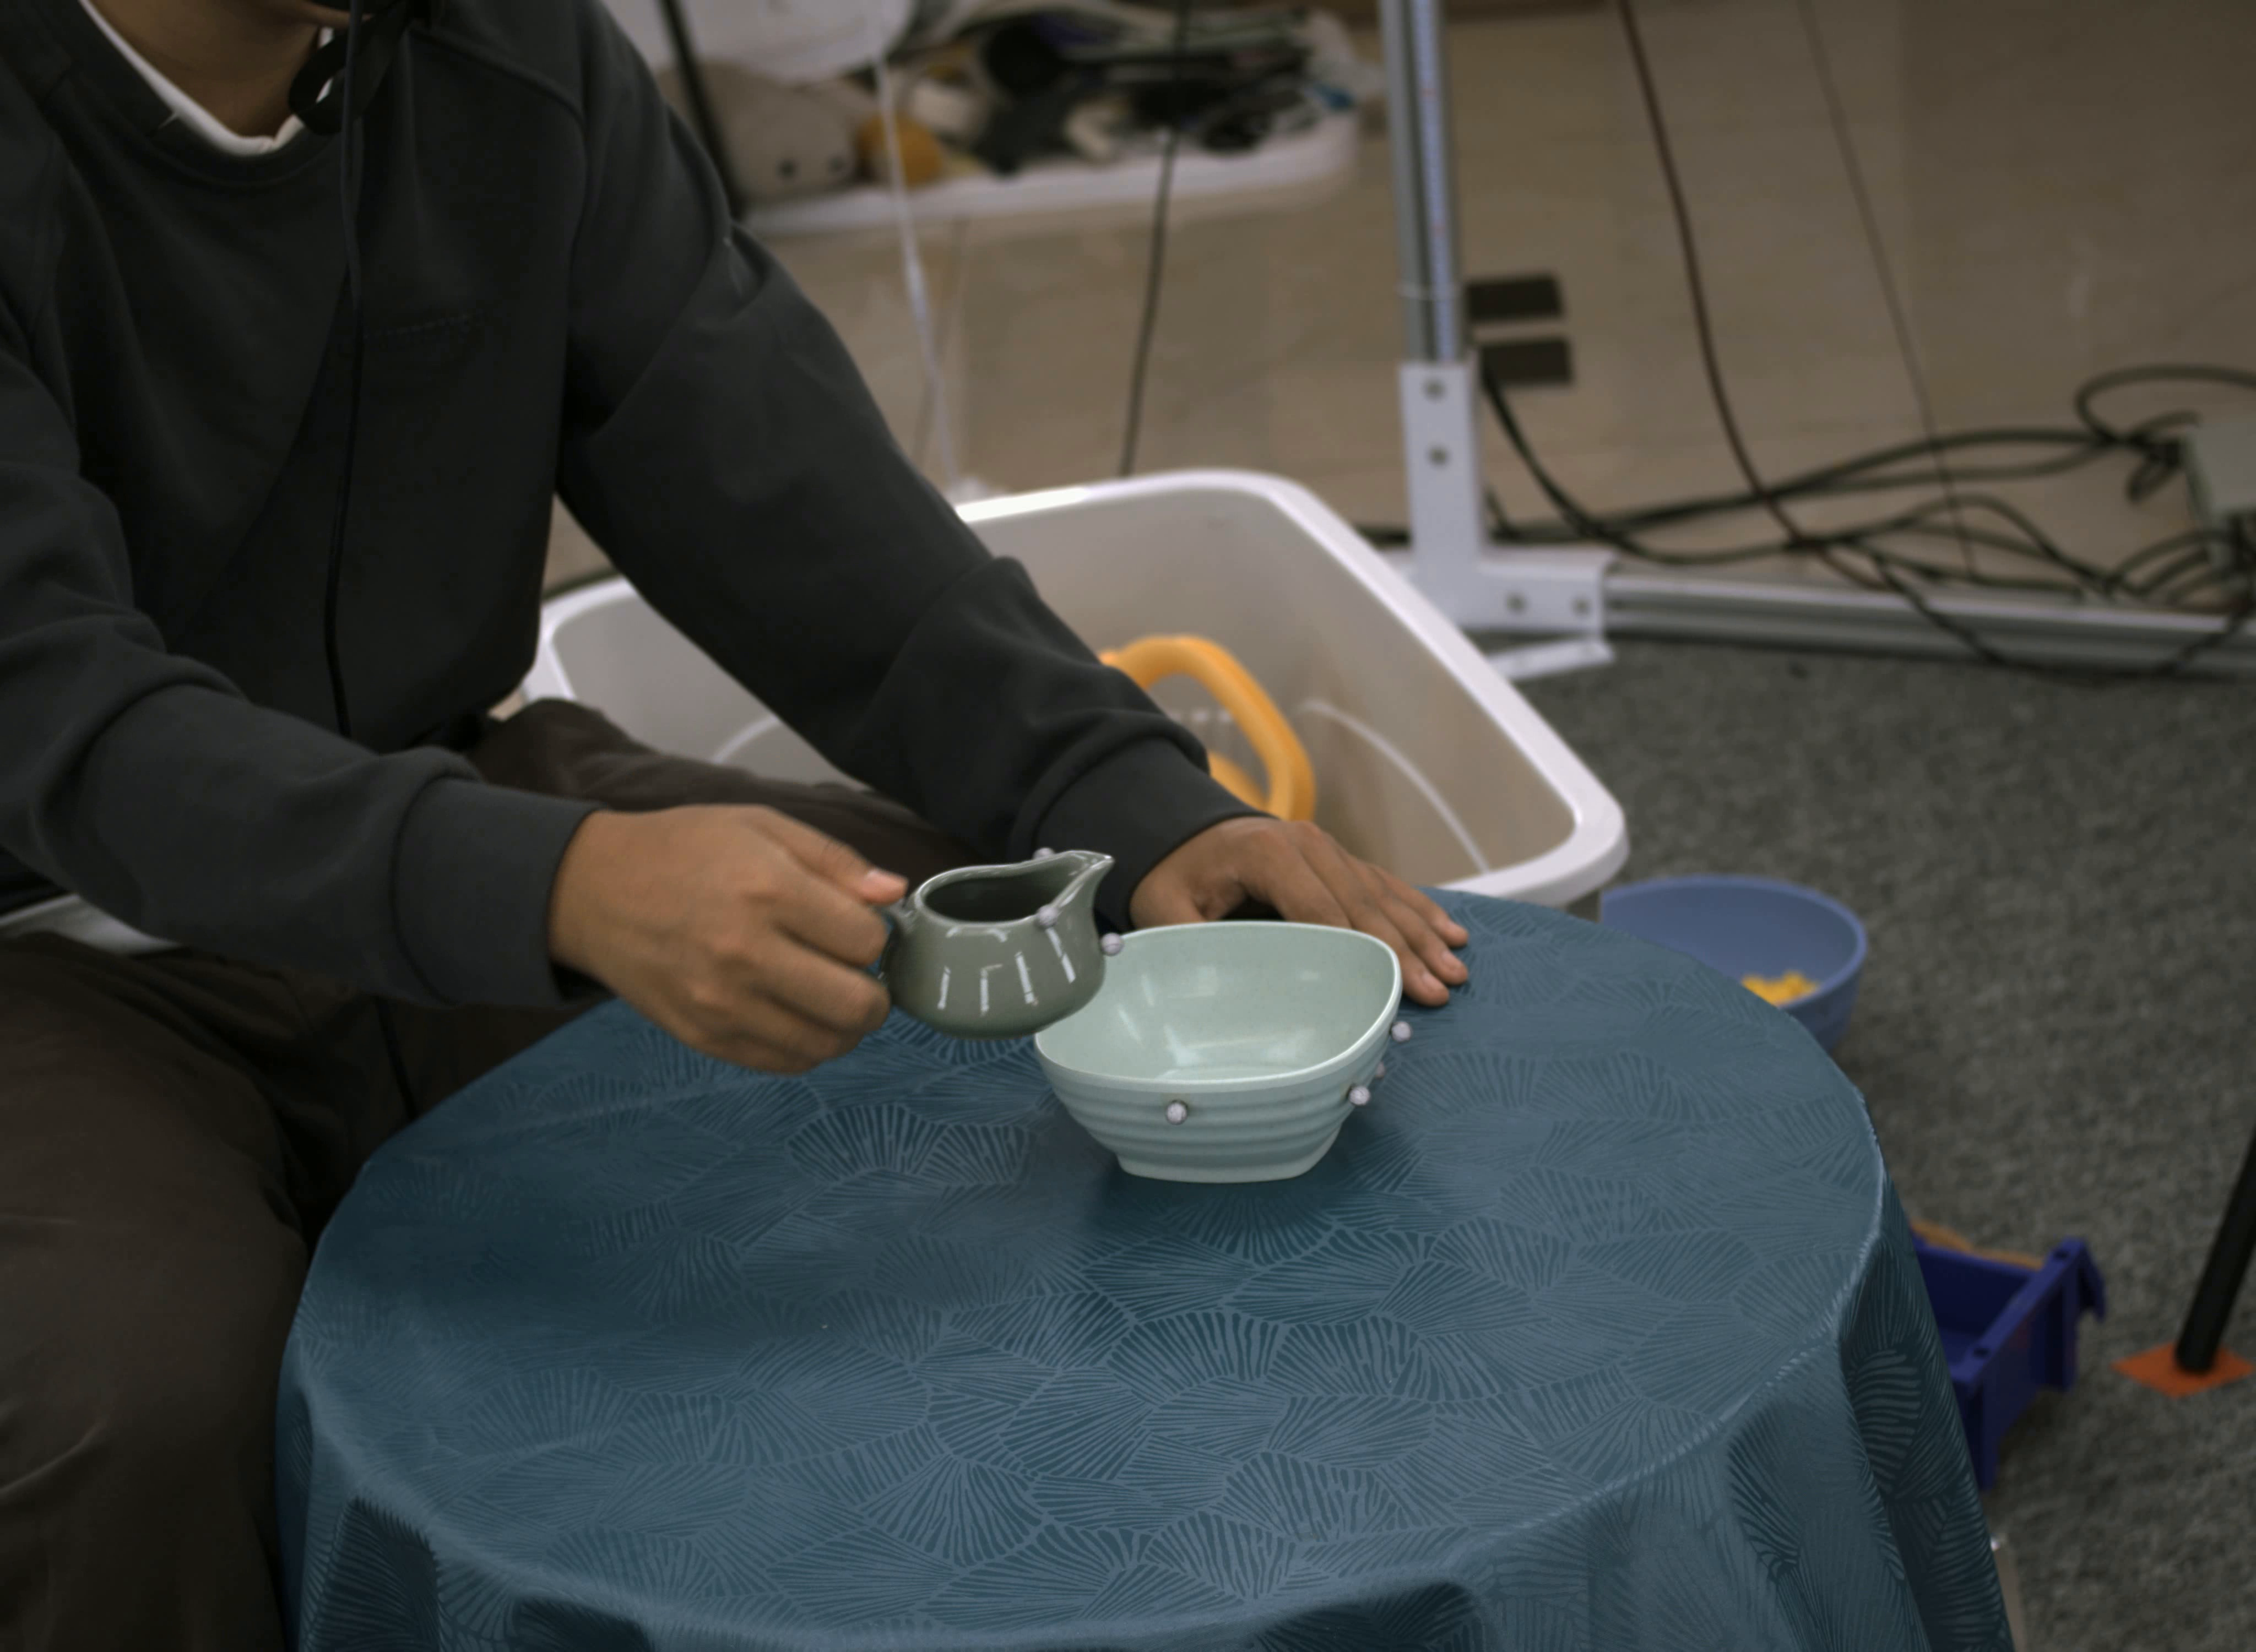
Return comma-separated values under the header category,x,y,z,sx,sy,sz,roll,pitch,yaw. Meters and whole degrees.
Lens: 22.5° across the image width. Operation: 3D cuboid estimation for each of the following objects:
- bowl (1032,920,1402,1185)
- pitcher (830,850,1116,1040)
category,x,y,z,sx,sy,sz,roll,pitch,yaw
bowl,0.036,0.092,2.174,0.151,0.059,0.149,-4,26,2
pitcher,-0.056,0.044,2.088,0.112,0.057,0.083,-11,24,-21
